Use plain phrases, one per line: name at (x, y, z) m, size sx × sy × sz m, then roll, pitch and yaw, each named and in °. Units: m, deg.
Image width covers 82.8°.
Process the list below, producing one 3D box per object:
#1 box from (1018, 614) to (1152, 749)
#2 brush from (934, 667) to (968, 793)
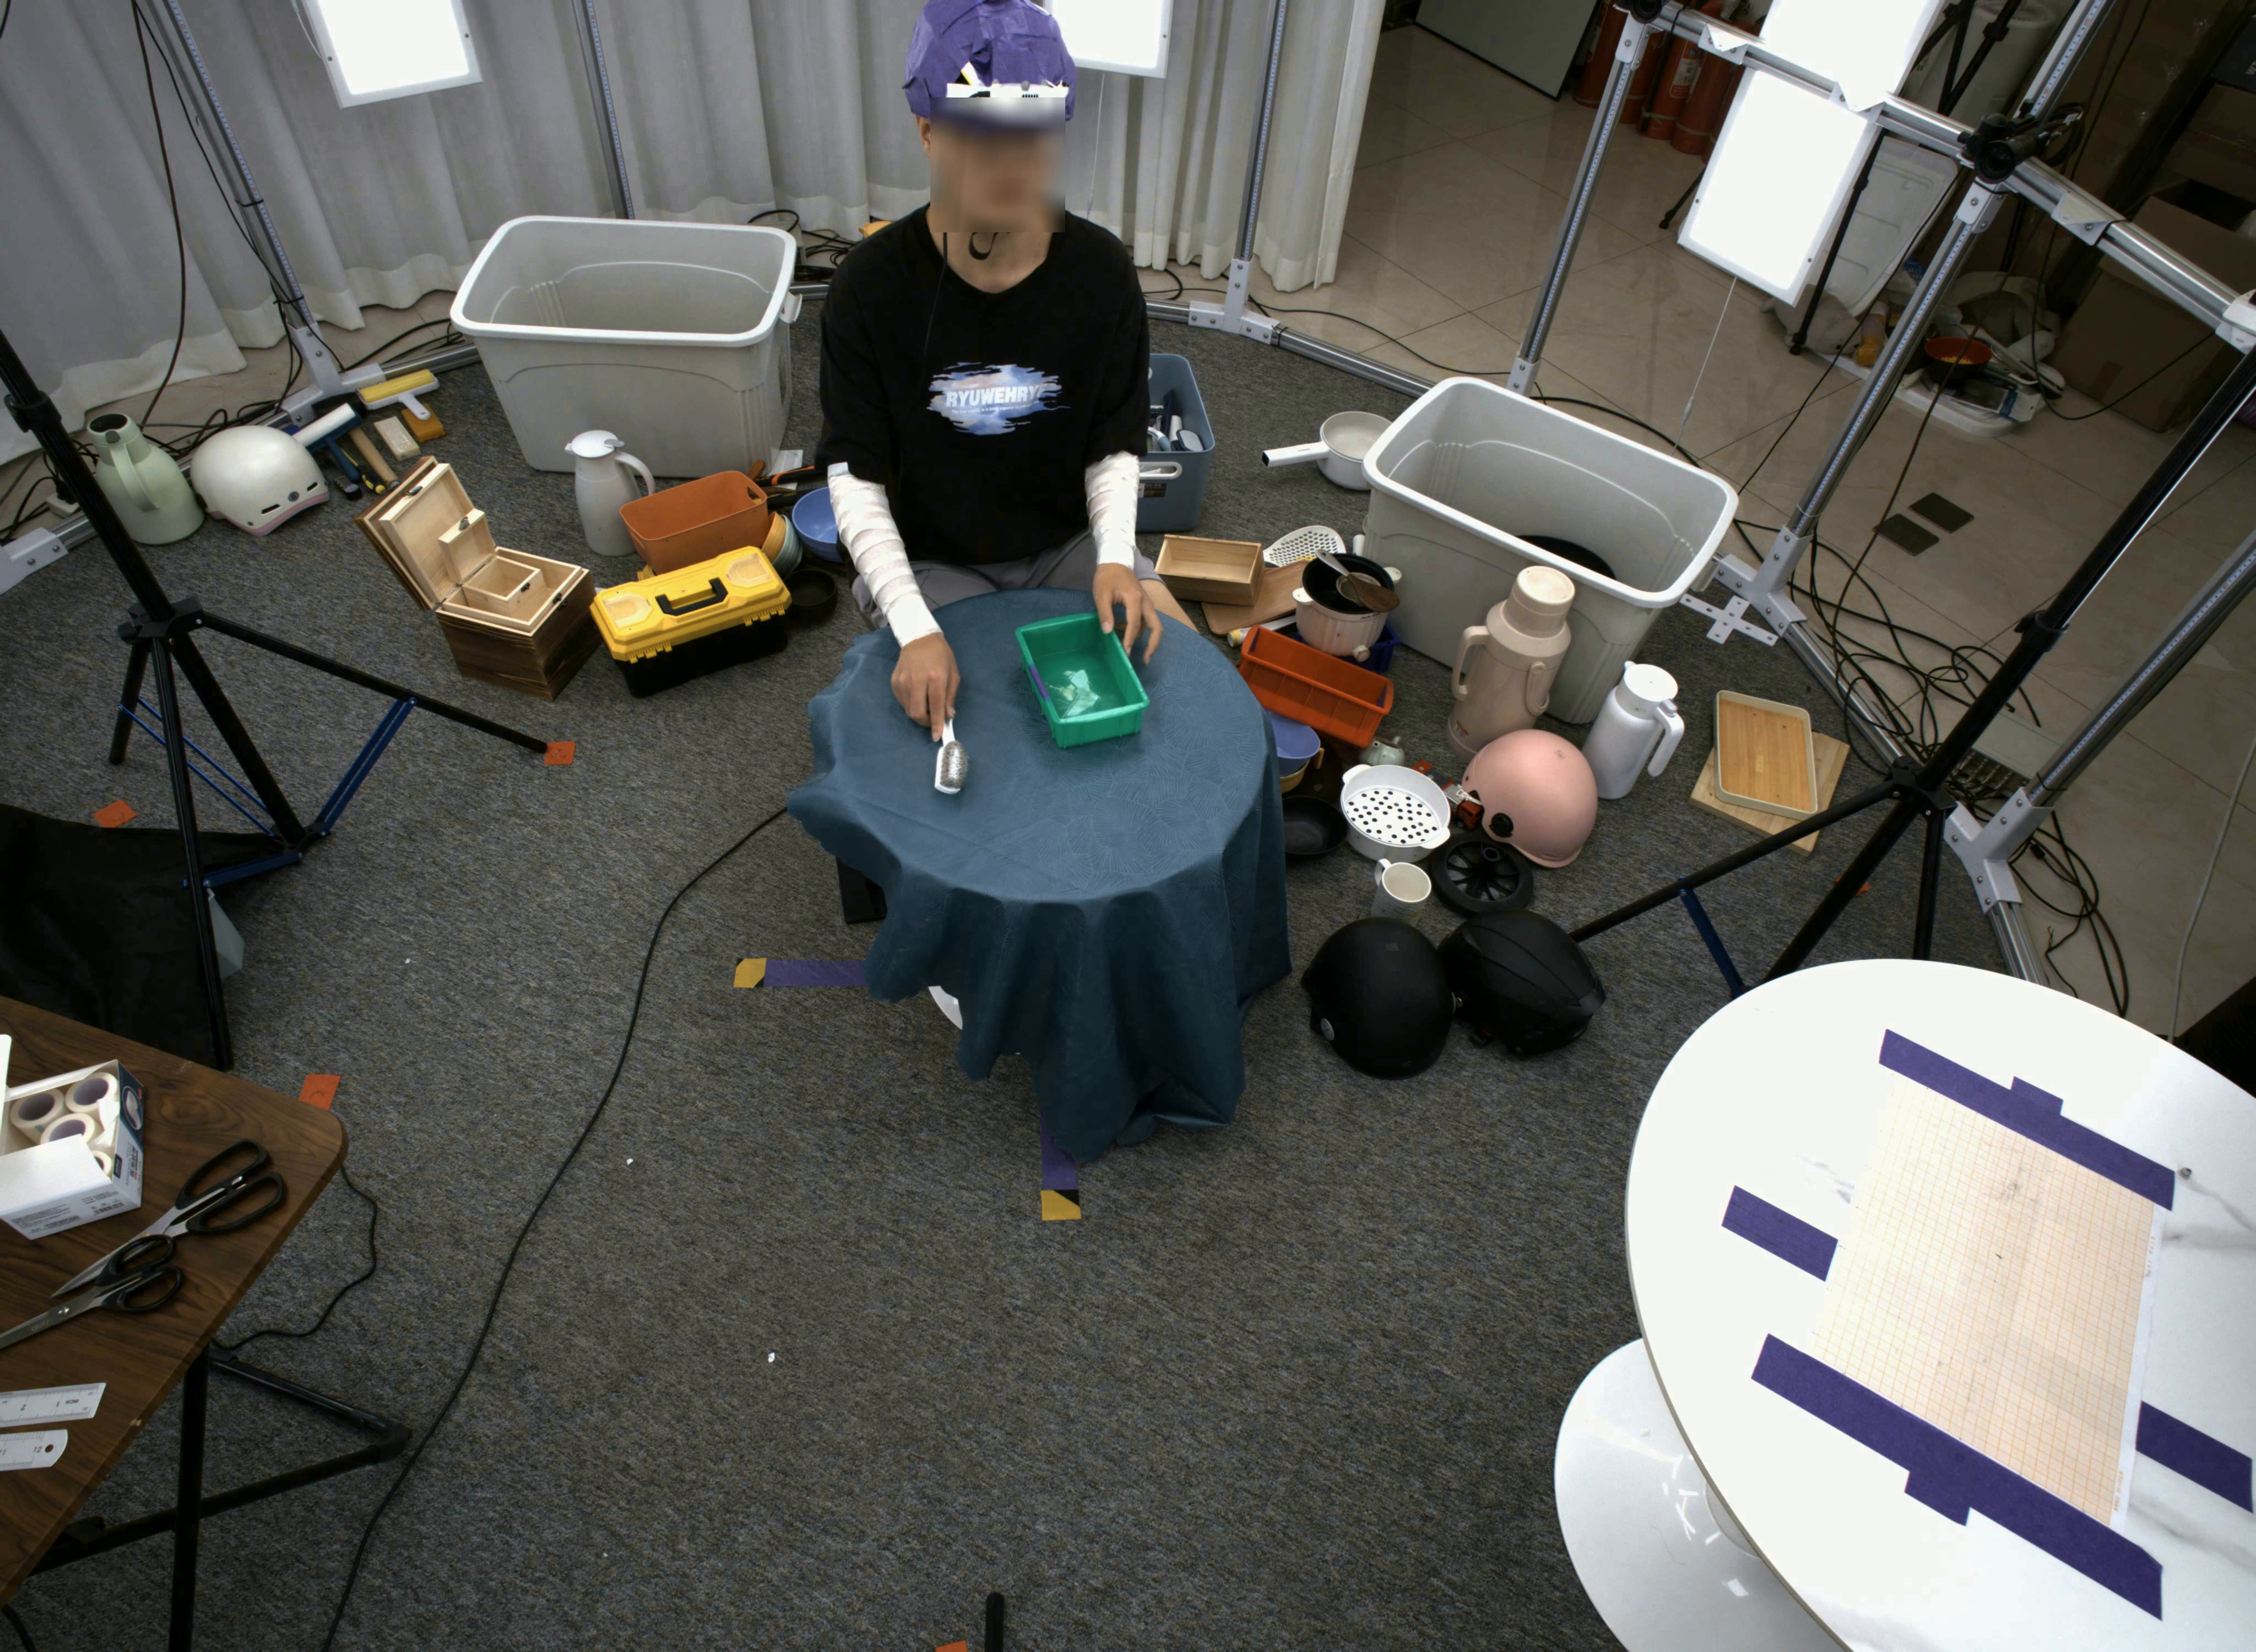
box at (-0.062, -0.202, 1.804) m, size 0.139 × 0.064 × 0.215 m, roll -15°, pitch 51°, yaw -13°
brush at (-0.239, -0.143, 1.750) m, size 0.034 × 0.049 × 0.250 m, roll 16°, pitch 44°, yaw -23°
